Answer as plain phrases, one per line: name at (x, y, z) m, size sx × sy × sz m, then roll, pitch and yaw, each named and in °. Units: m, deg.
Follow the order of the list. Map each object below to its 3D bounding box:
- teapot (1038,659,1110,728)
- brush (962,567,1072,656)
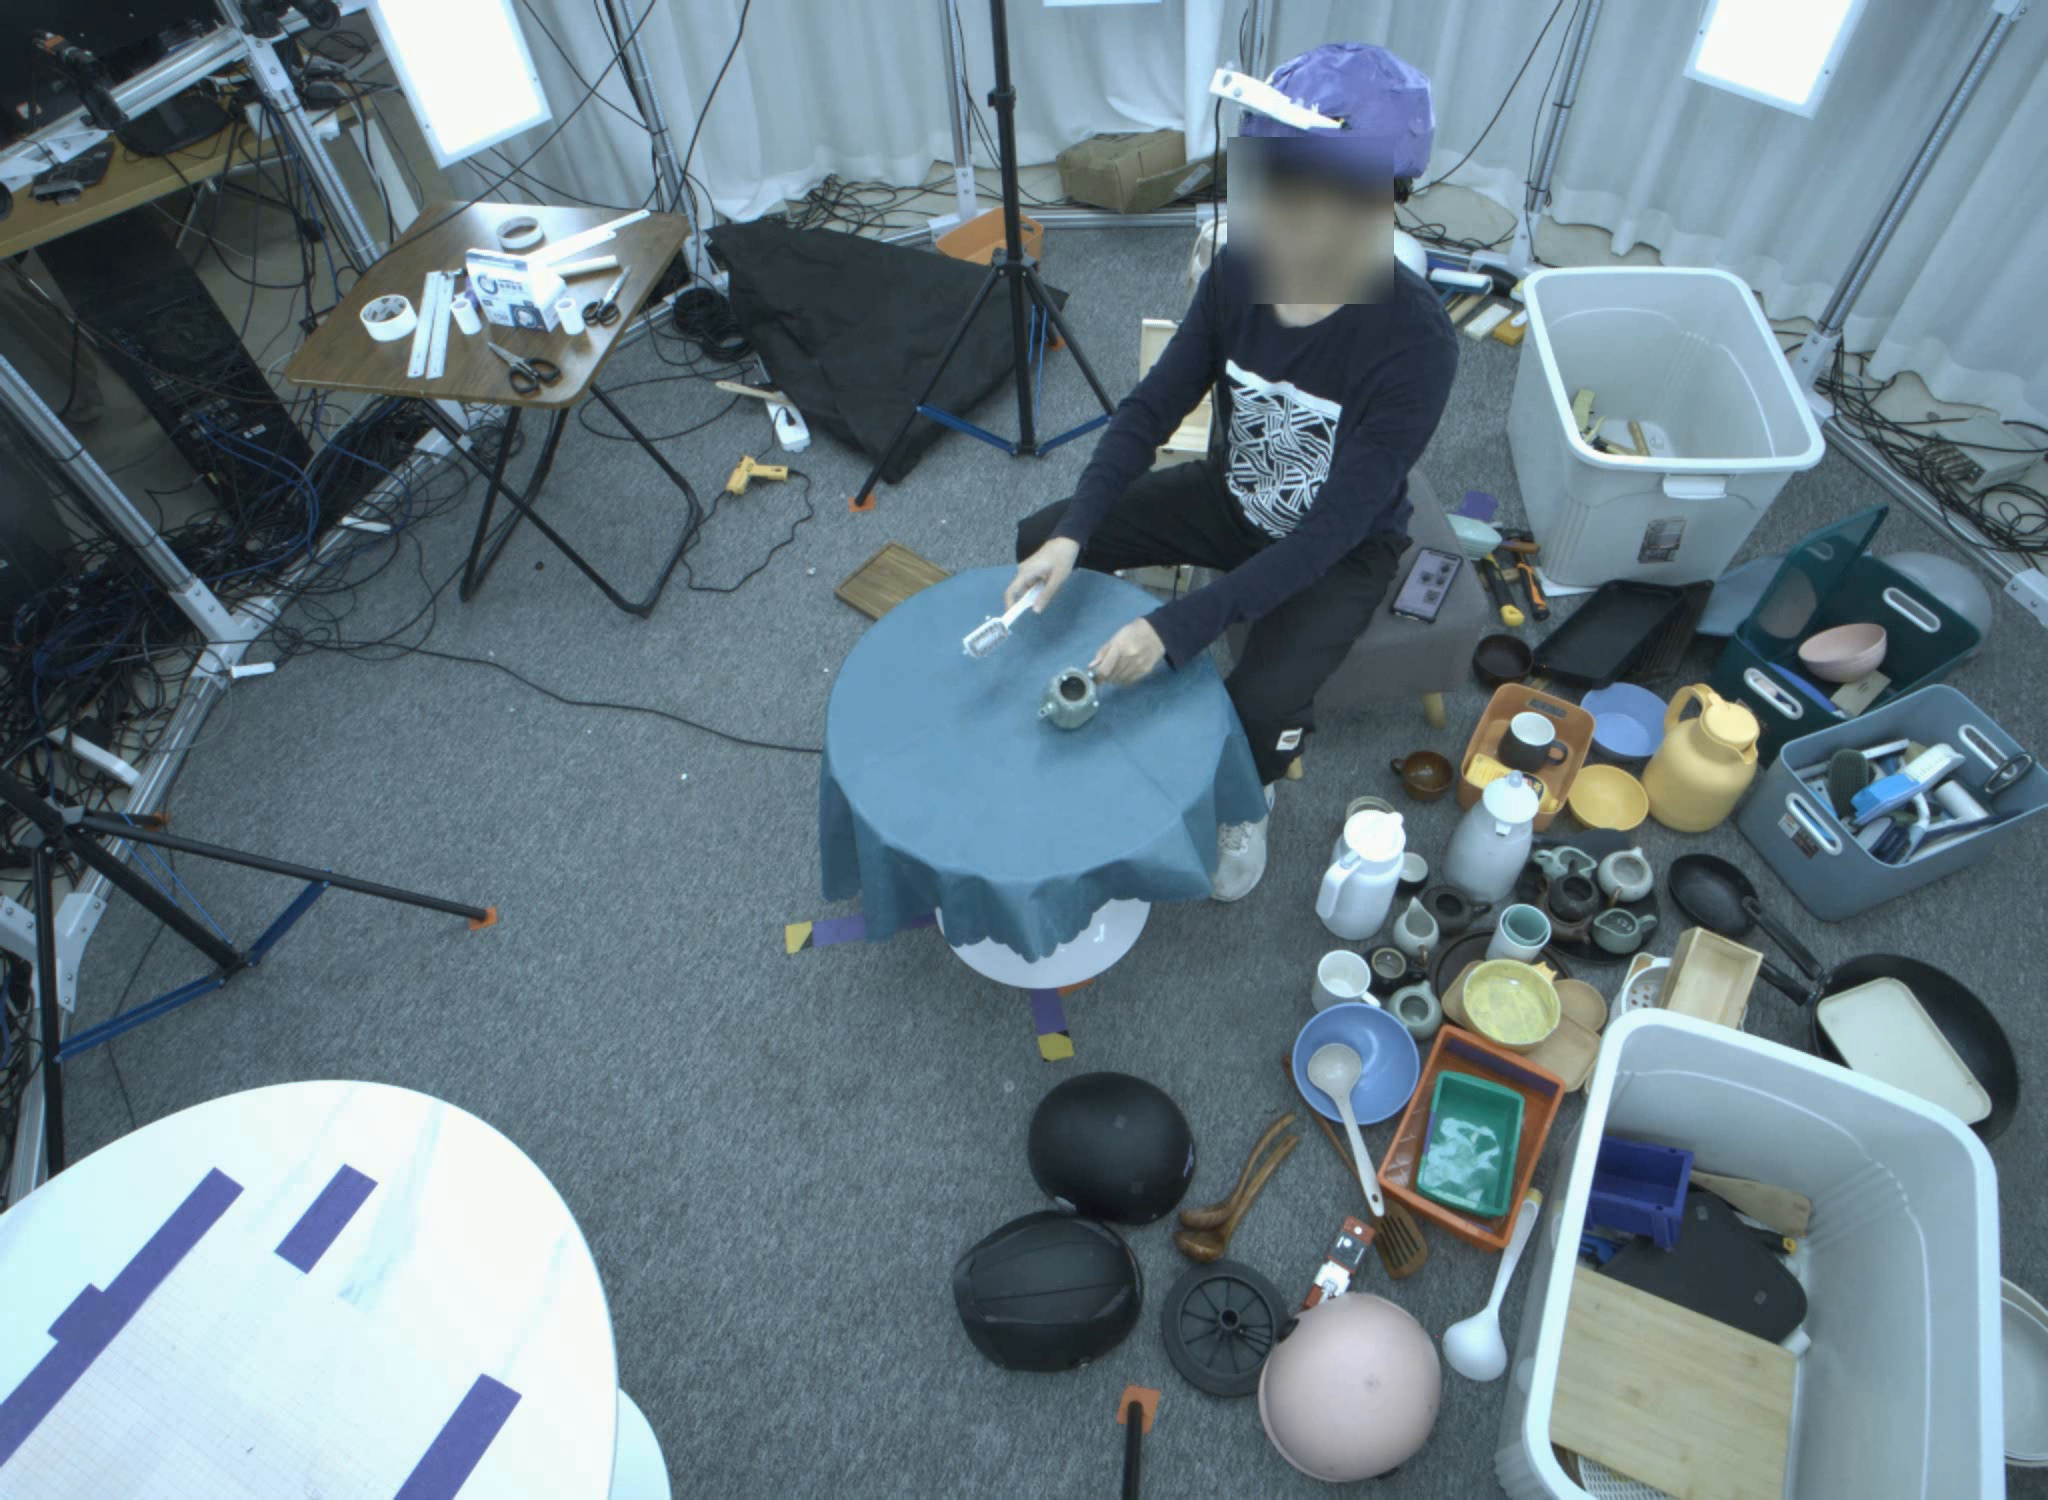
teapot at (0.070, -0.081, 1.780) m, size 0.133 × 0.075 × 0.079 m, roll -39°, pitch 80°, yaw -14°
brush at (-0.001, -0.214, 1.839) m, size 0.246 × 0.049 × 0.034 m, roll -39°, pitch 102°, yaw -30°
